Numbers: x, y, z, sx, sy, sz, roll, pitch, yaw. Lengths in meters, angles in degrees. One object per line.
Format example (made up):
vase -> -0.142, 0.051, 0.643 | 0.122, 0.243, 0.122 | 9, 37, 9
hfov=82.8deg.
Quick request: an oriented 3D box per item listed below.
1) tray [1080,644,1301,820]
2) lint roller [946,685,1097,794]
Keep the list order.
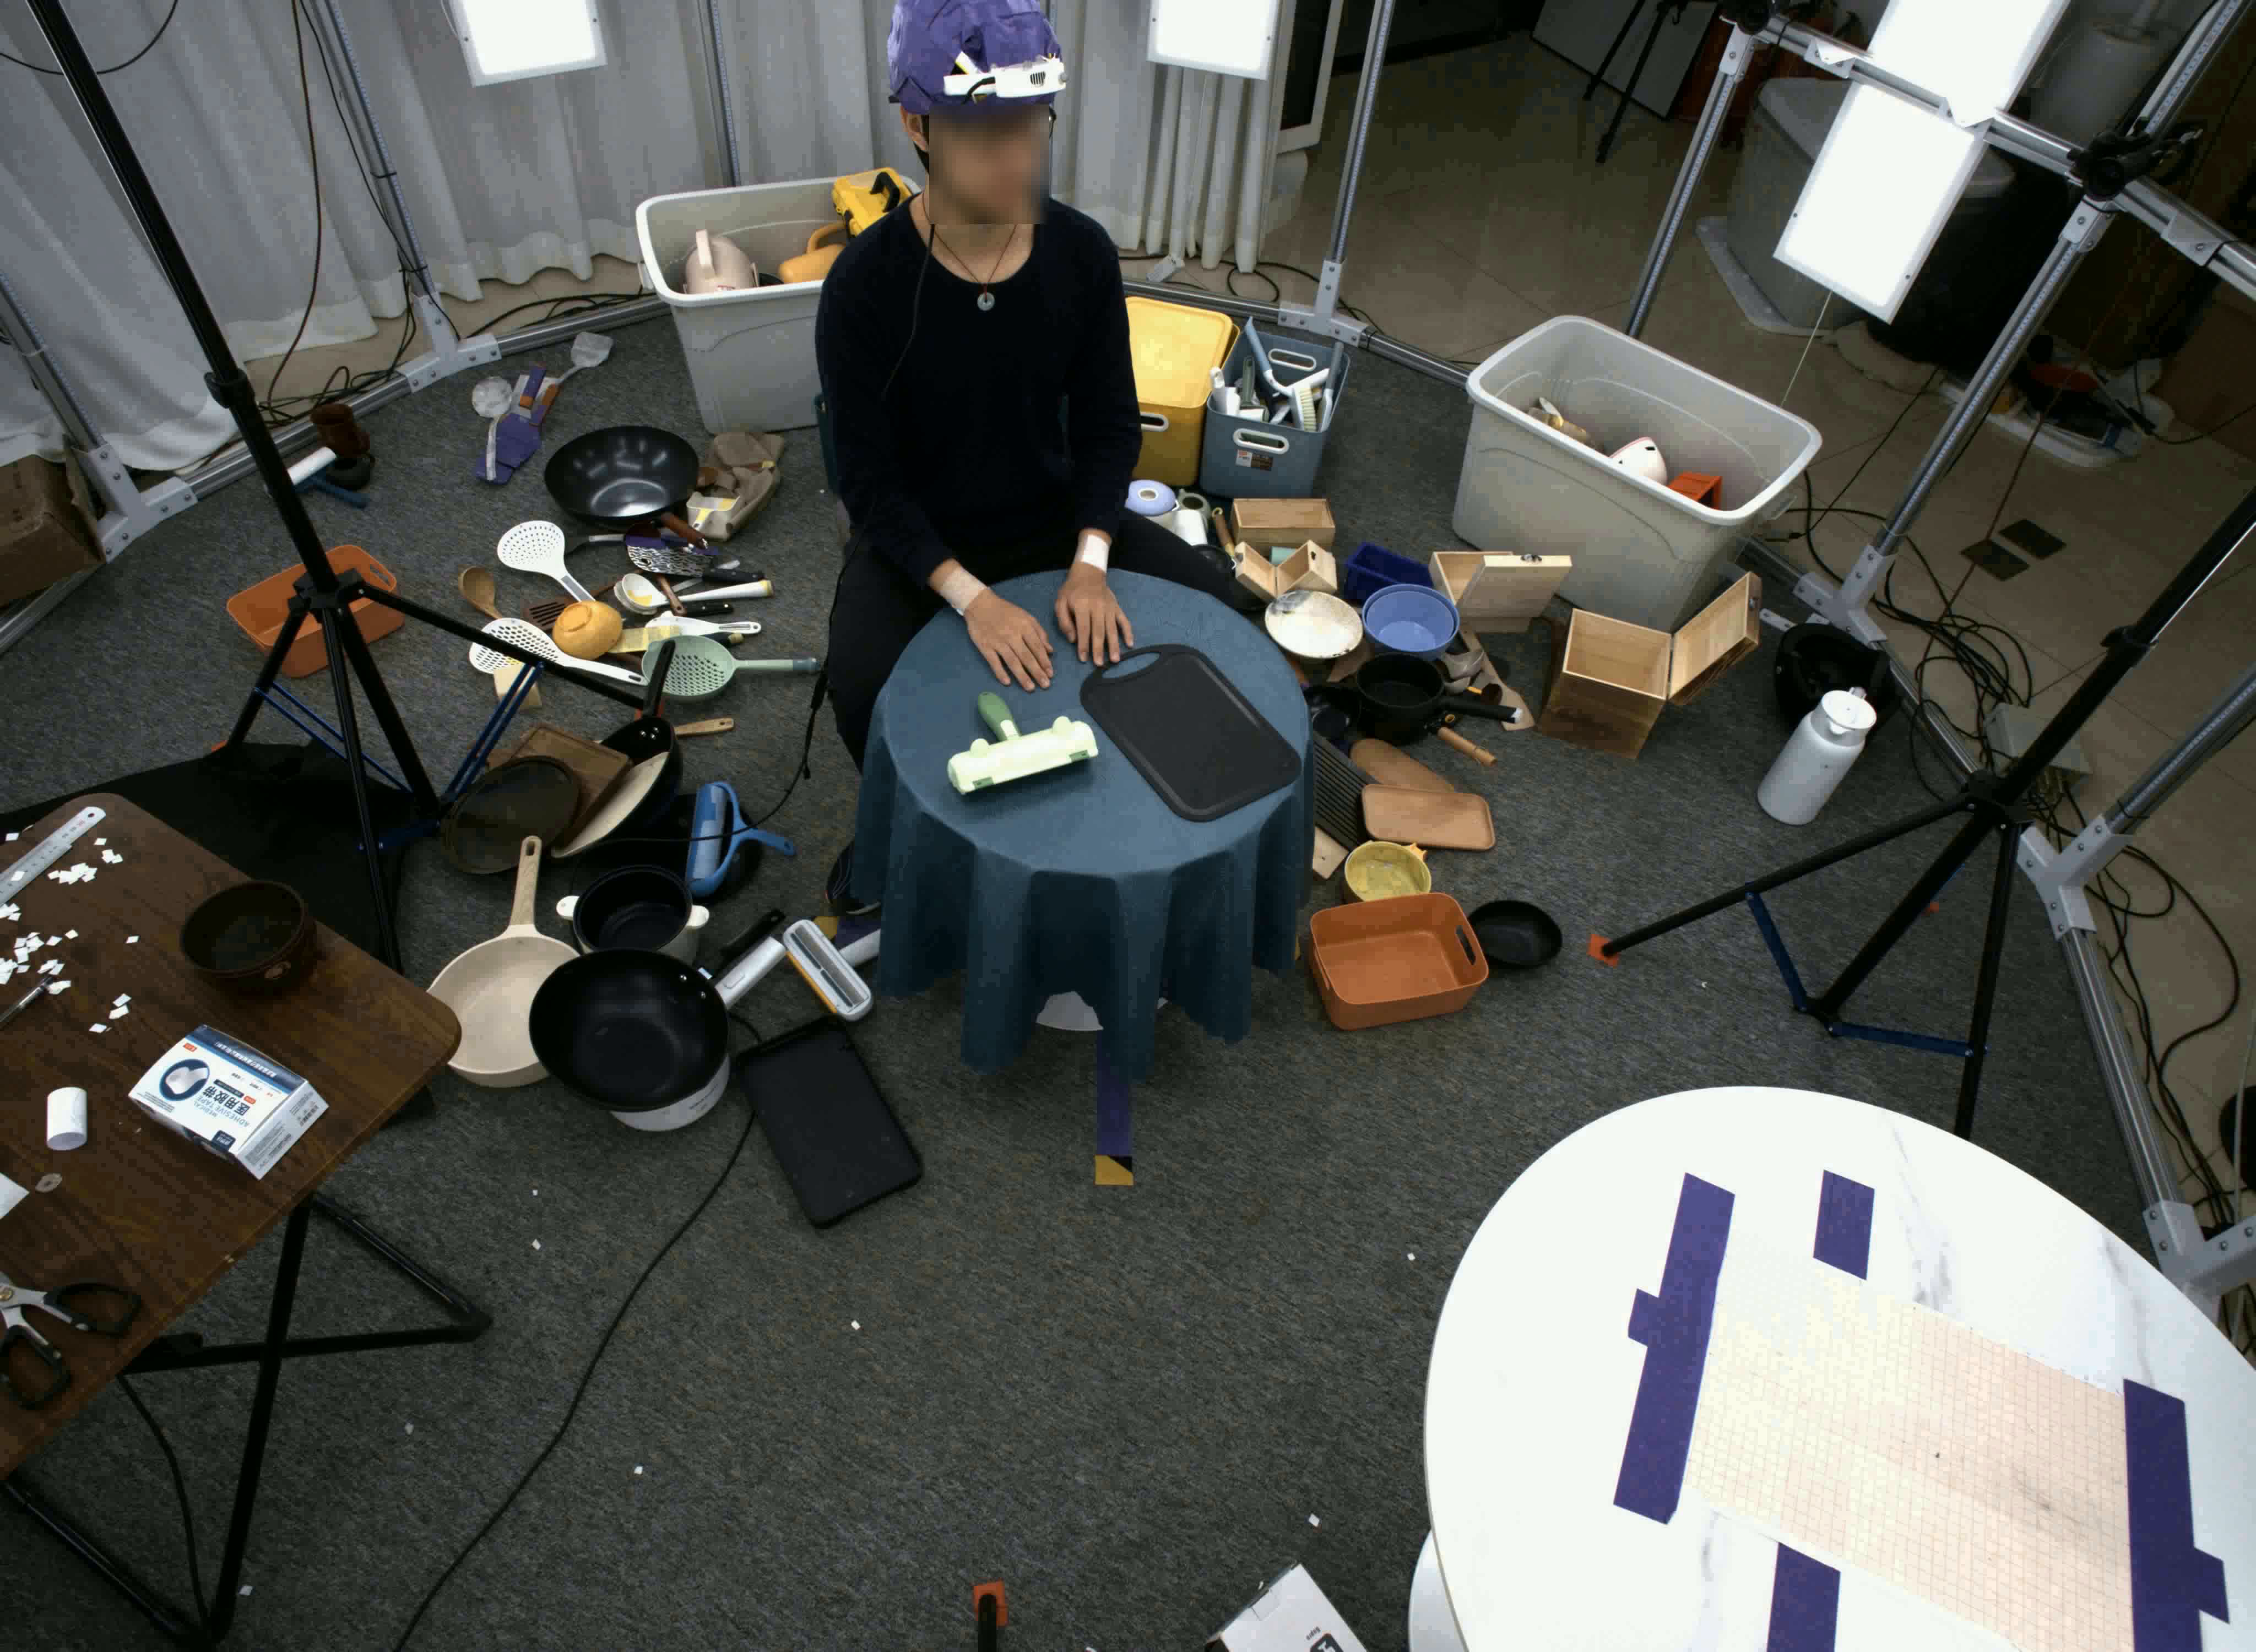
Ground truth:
tray -> 0.079, -0.144, 1.794 | 0.212, 0.009, 0.332 | -24, 55, -22
lint roller -> -0.163, -0.140, 1.723 | 0.199, 0.080, 0.187 | -17, 59, -19
